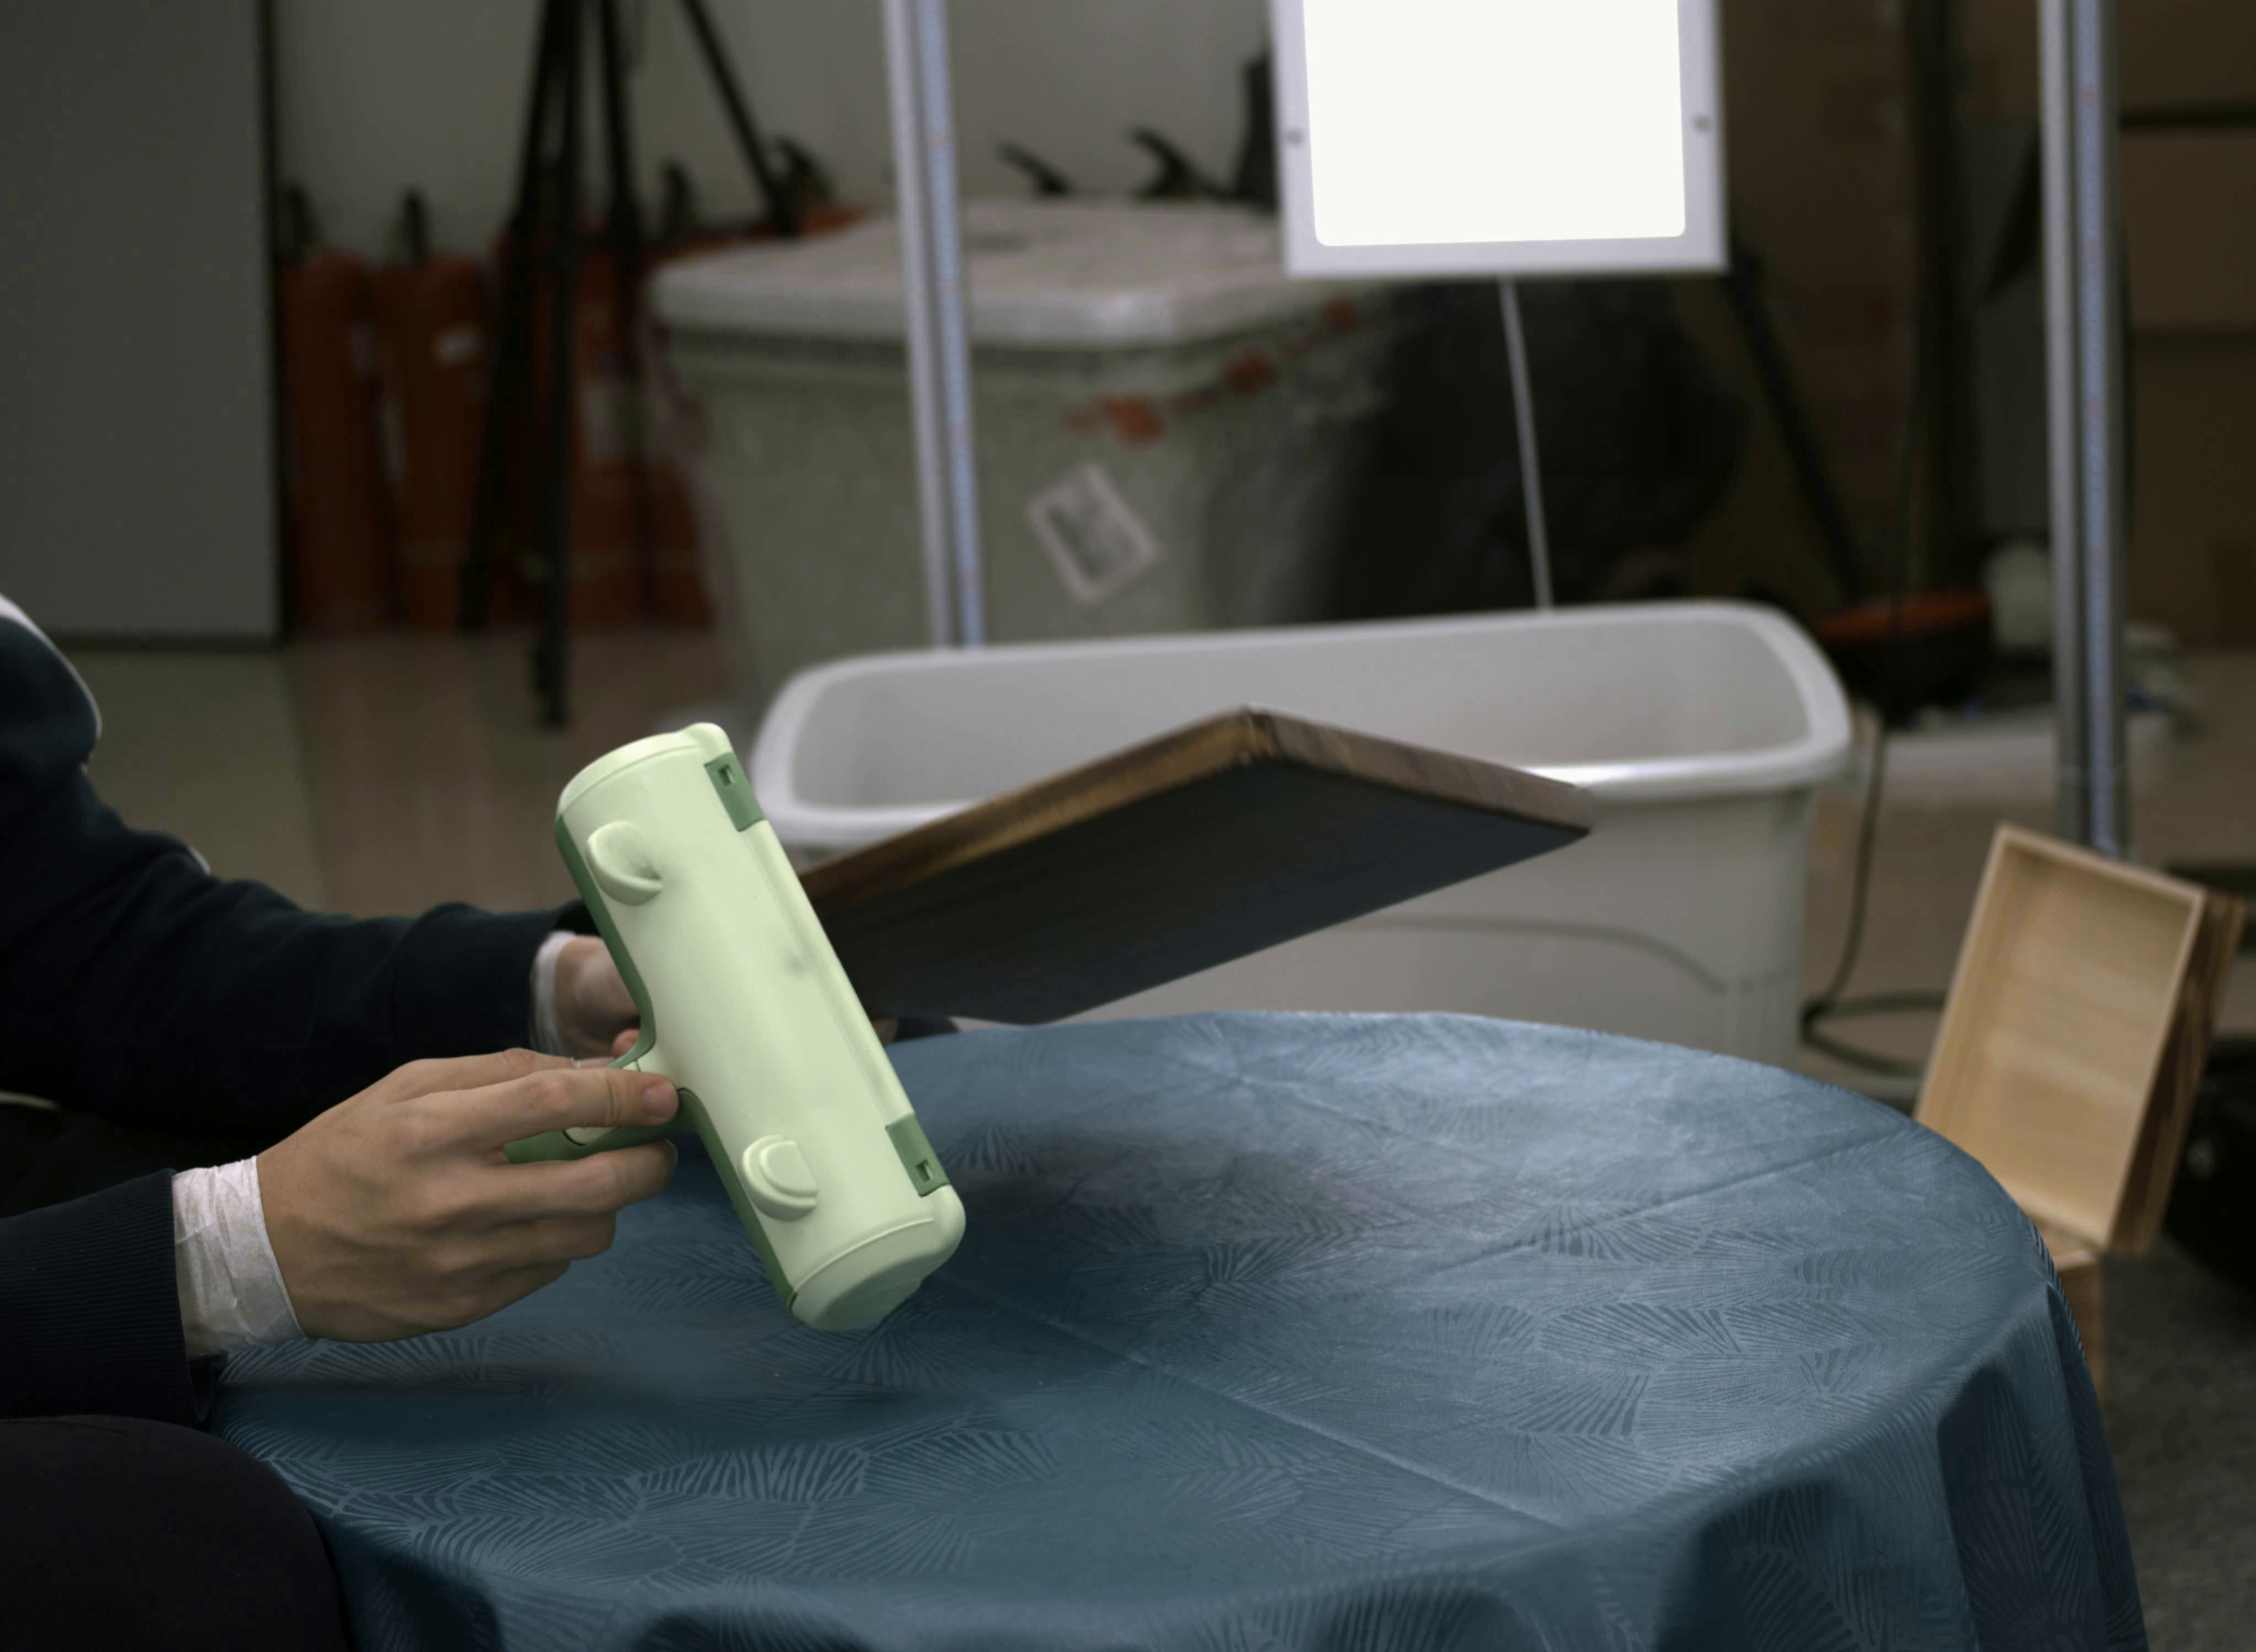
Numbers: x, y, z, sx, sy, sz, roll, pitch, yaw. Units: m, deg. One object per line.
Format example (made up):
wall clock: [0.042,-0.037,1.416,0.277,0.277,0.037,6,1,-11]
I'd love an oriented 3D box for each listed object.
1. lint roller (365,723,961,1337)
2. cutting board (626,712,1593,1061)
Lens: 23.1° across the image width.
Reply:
lint roller: [-0.170,0.089,1.734,0.184,0.200,0.081,-29,-20,5]
cutting board: [-0.035,0.033,1.876,0.360,0.023,0.196,-20,-19,35]
